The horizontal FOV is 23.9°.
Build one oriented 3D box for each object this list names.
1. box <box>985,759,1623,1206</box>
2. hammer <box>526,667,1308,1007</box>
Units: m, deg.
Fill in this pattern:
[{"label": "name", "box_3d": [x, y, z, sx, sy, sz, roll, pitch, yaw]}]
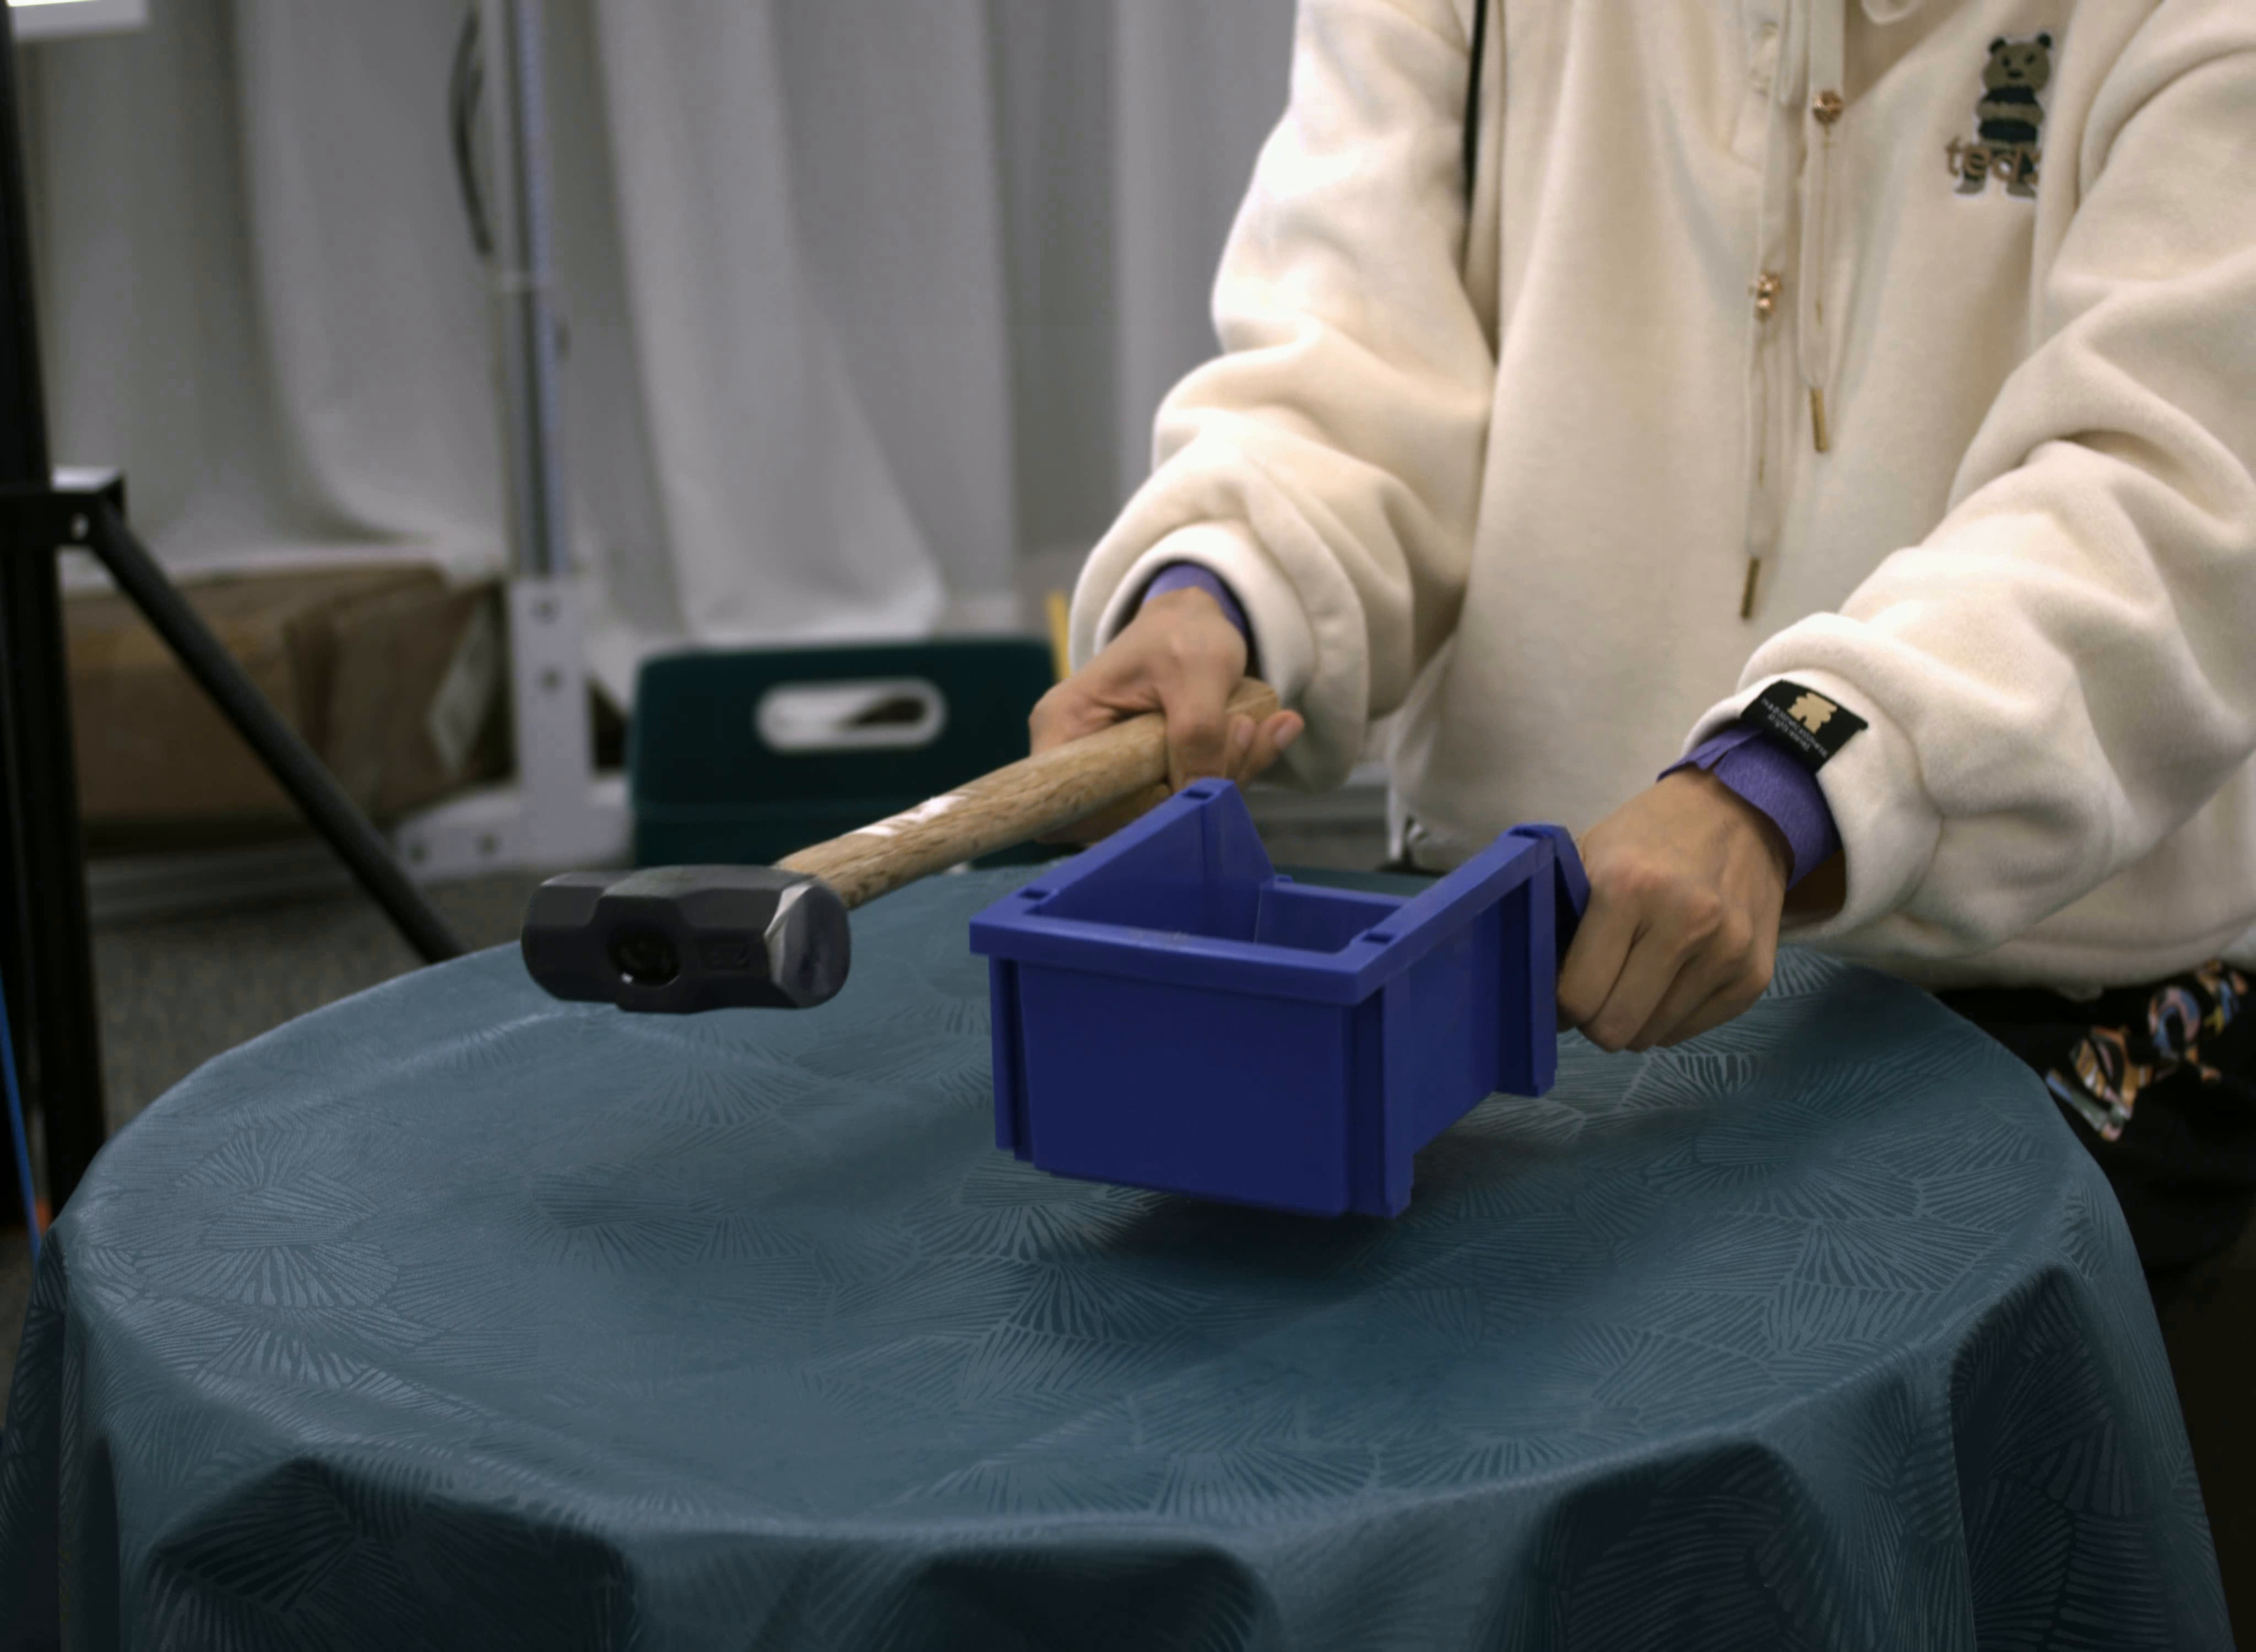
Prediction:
[{"label": "box", "box_3d": [0.053, 0.041, 1.546, 0.126, 0.082, 0.176, 7, 21, 28]}, {"label": "hammer", "box_3d": [-0.047, -0.002, 1.668, 0.109, 0.038, 0.299, 0, 15, 41]}]
